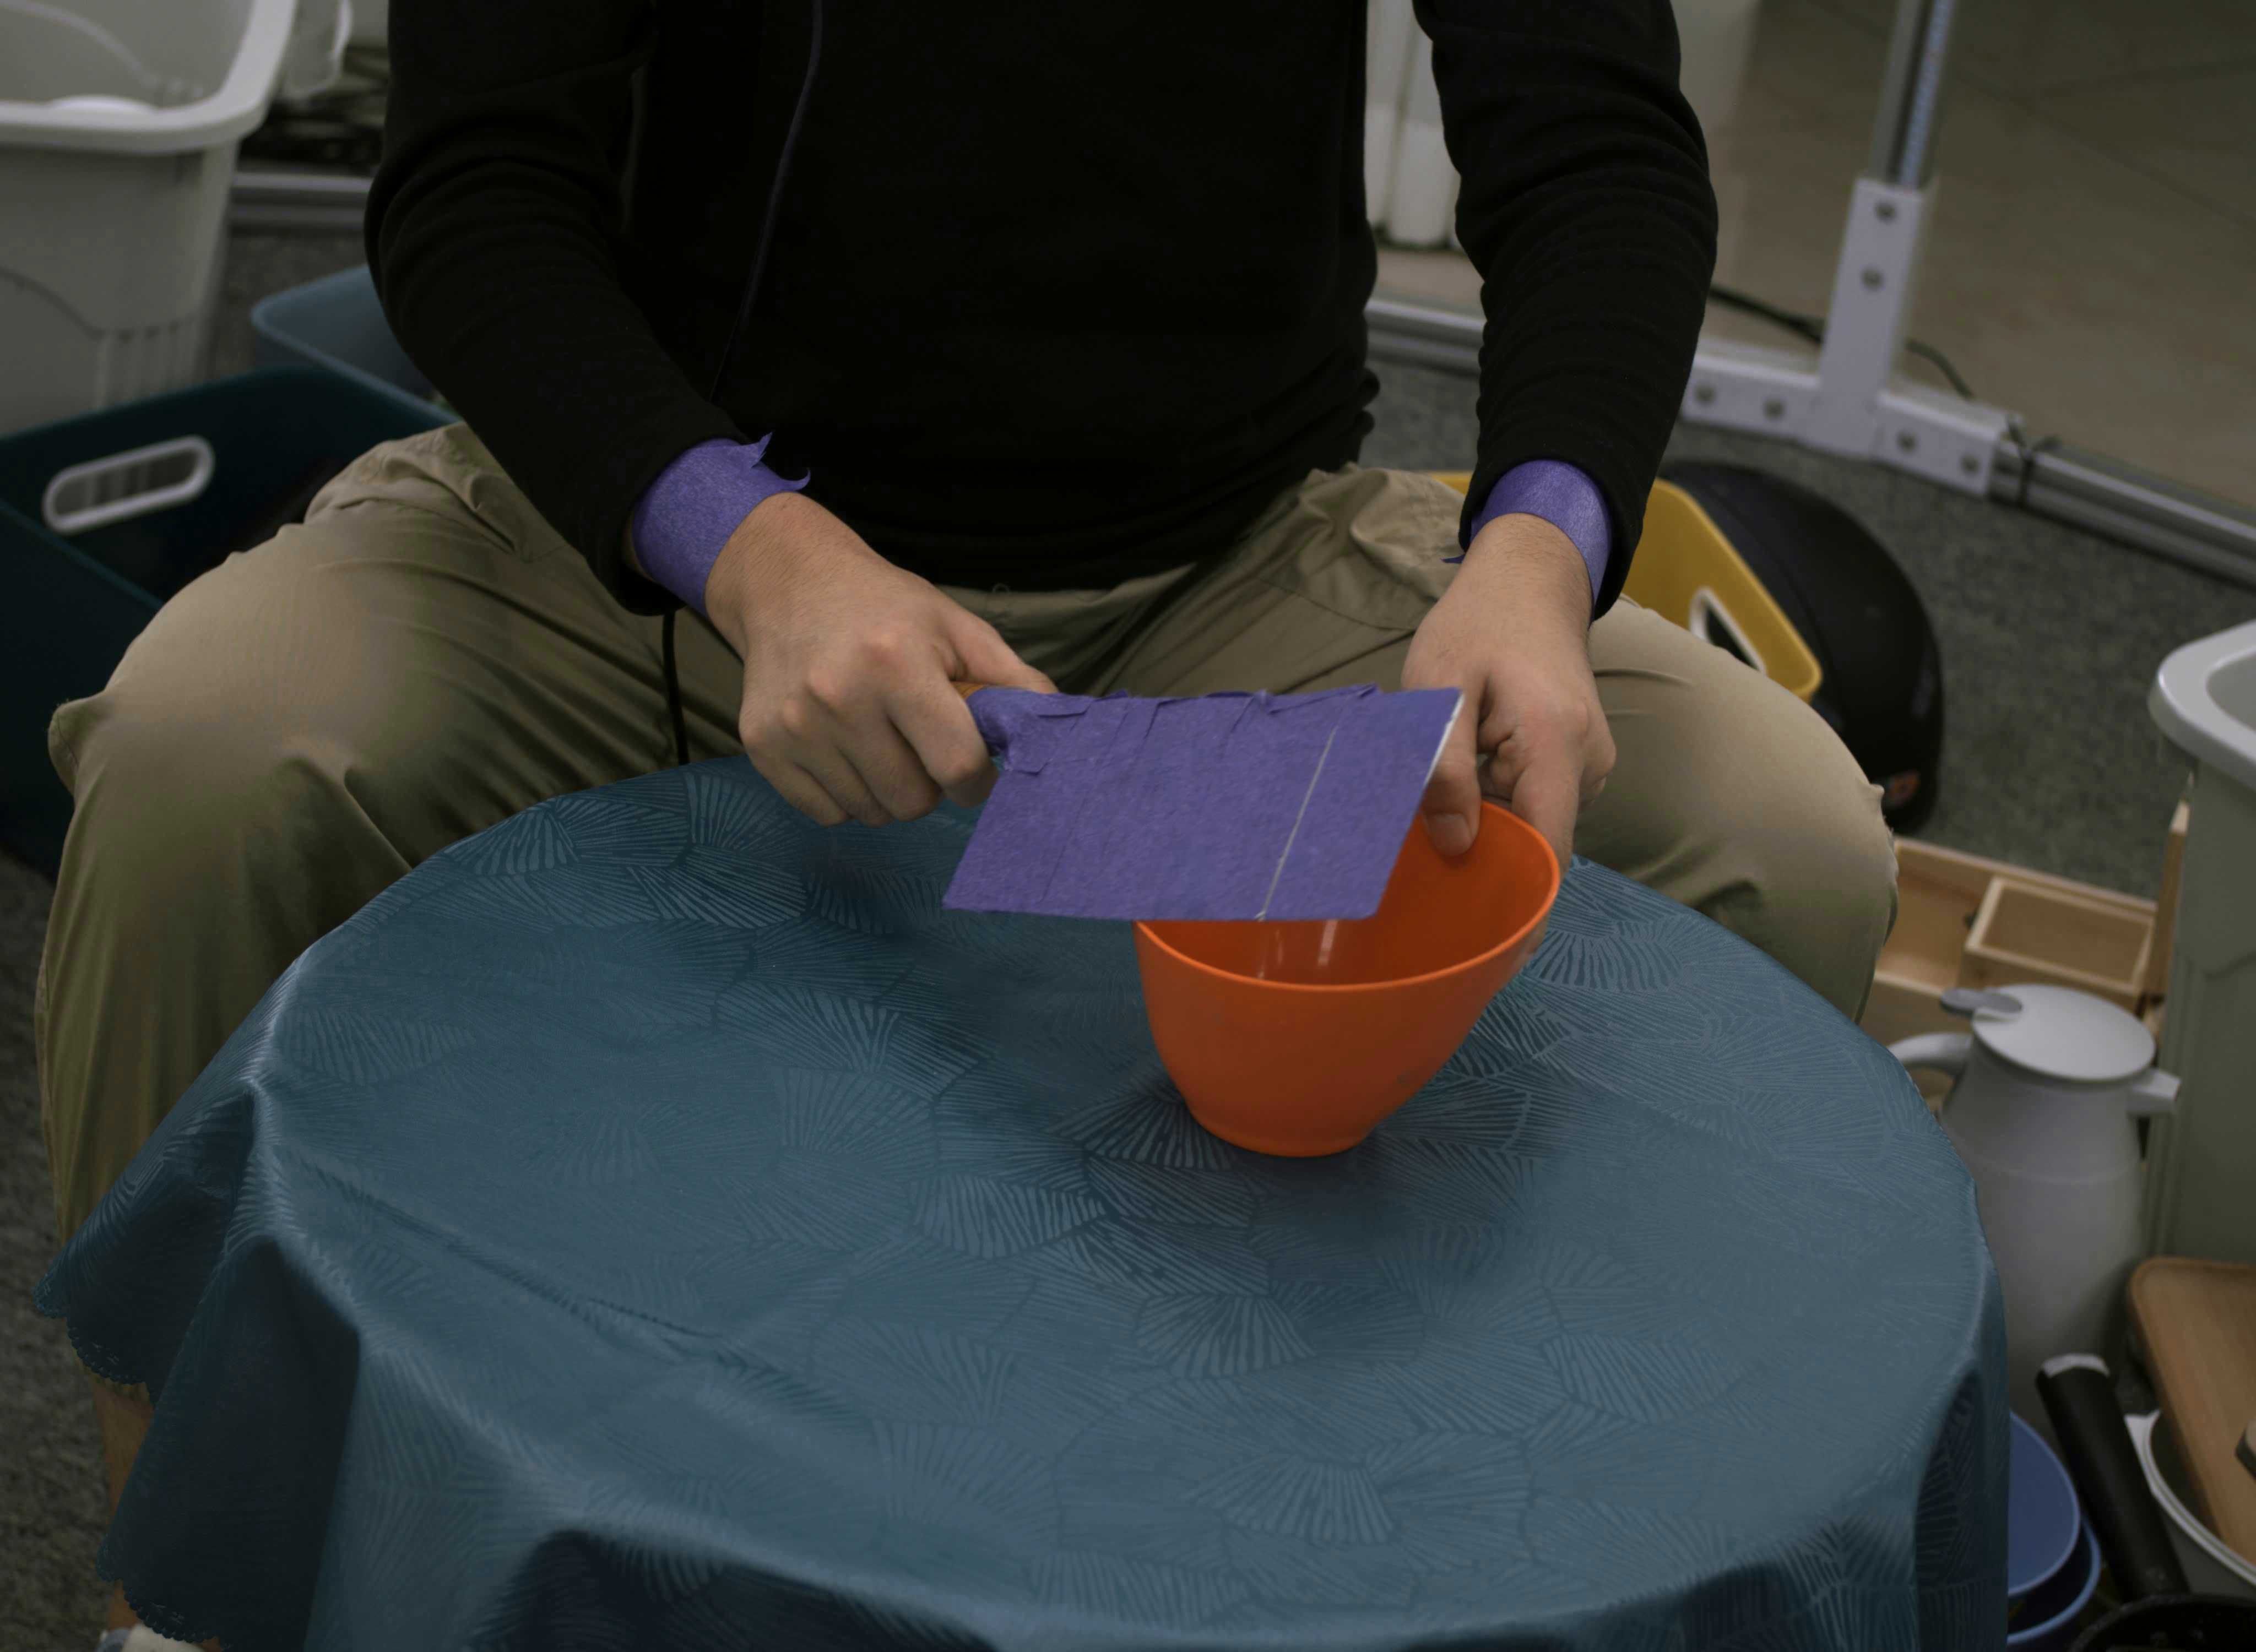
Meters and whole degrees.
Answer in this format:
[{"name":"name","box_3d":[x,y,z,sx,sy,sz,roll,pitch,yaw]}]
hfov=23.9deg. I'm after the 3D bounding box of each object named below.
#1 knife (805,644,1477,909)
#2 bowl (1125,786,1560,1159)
[{"name":"knife","box_3d":[-0.013,-0.014,1.860,0.317,0.032,0.104,-3,54,46]},{"name":"bowl","box_3d":[0.069,0.055,1.842,0.147,0.104,0.149,5,29,-3]}]
